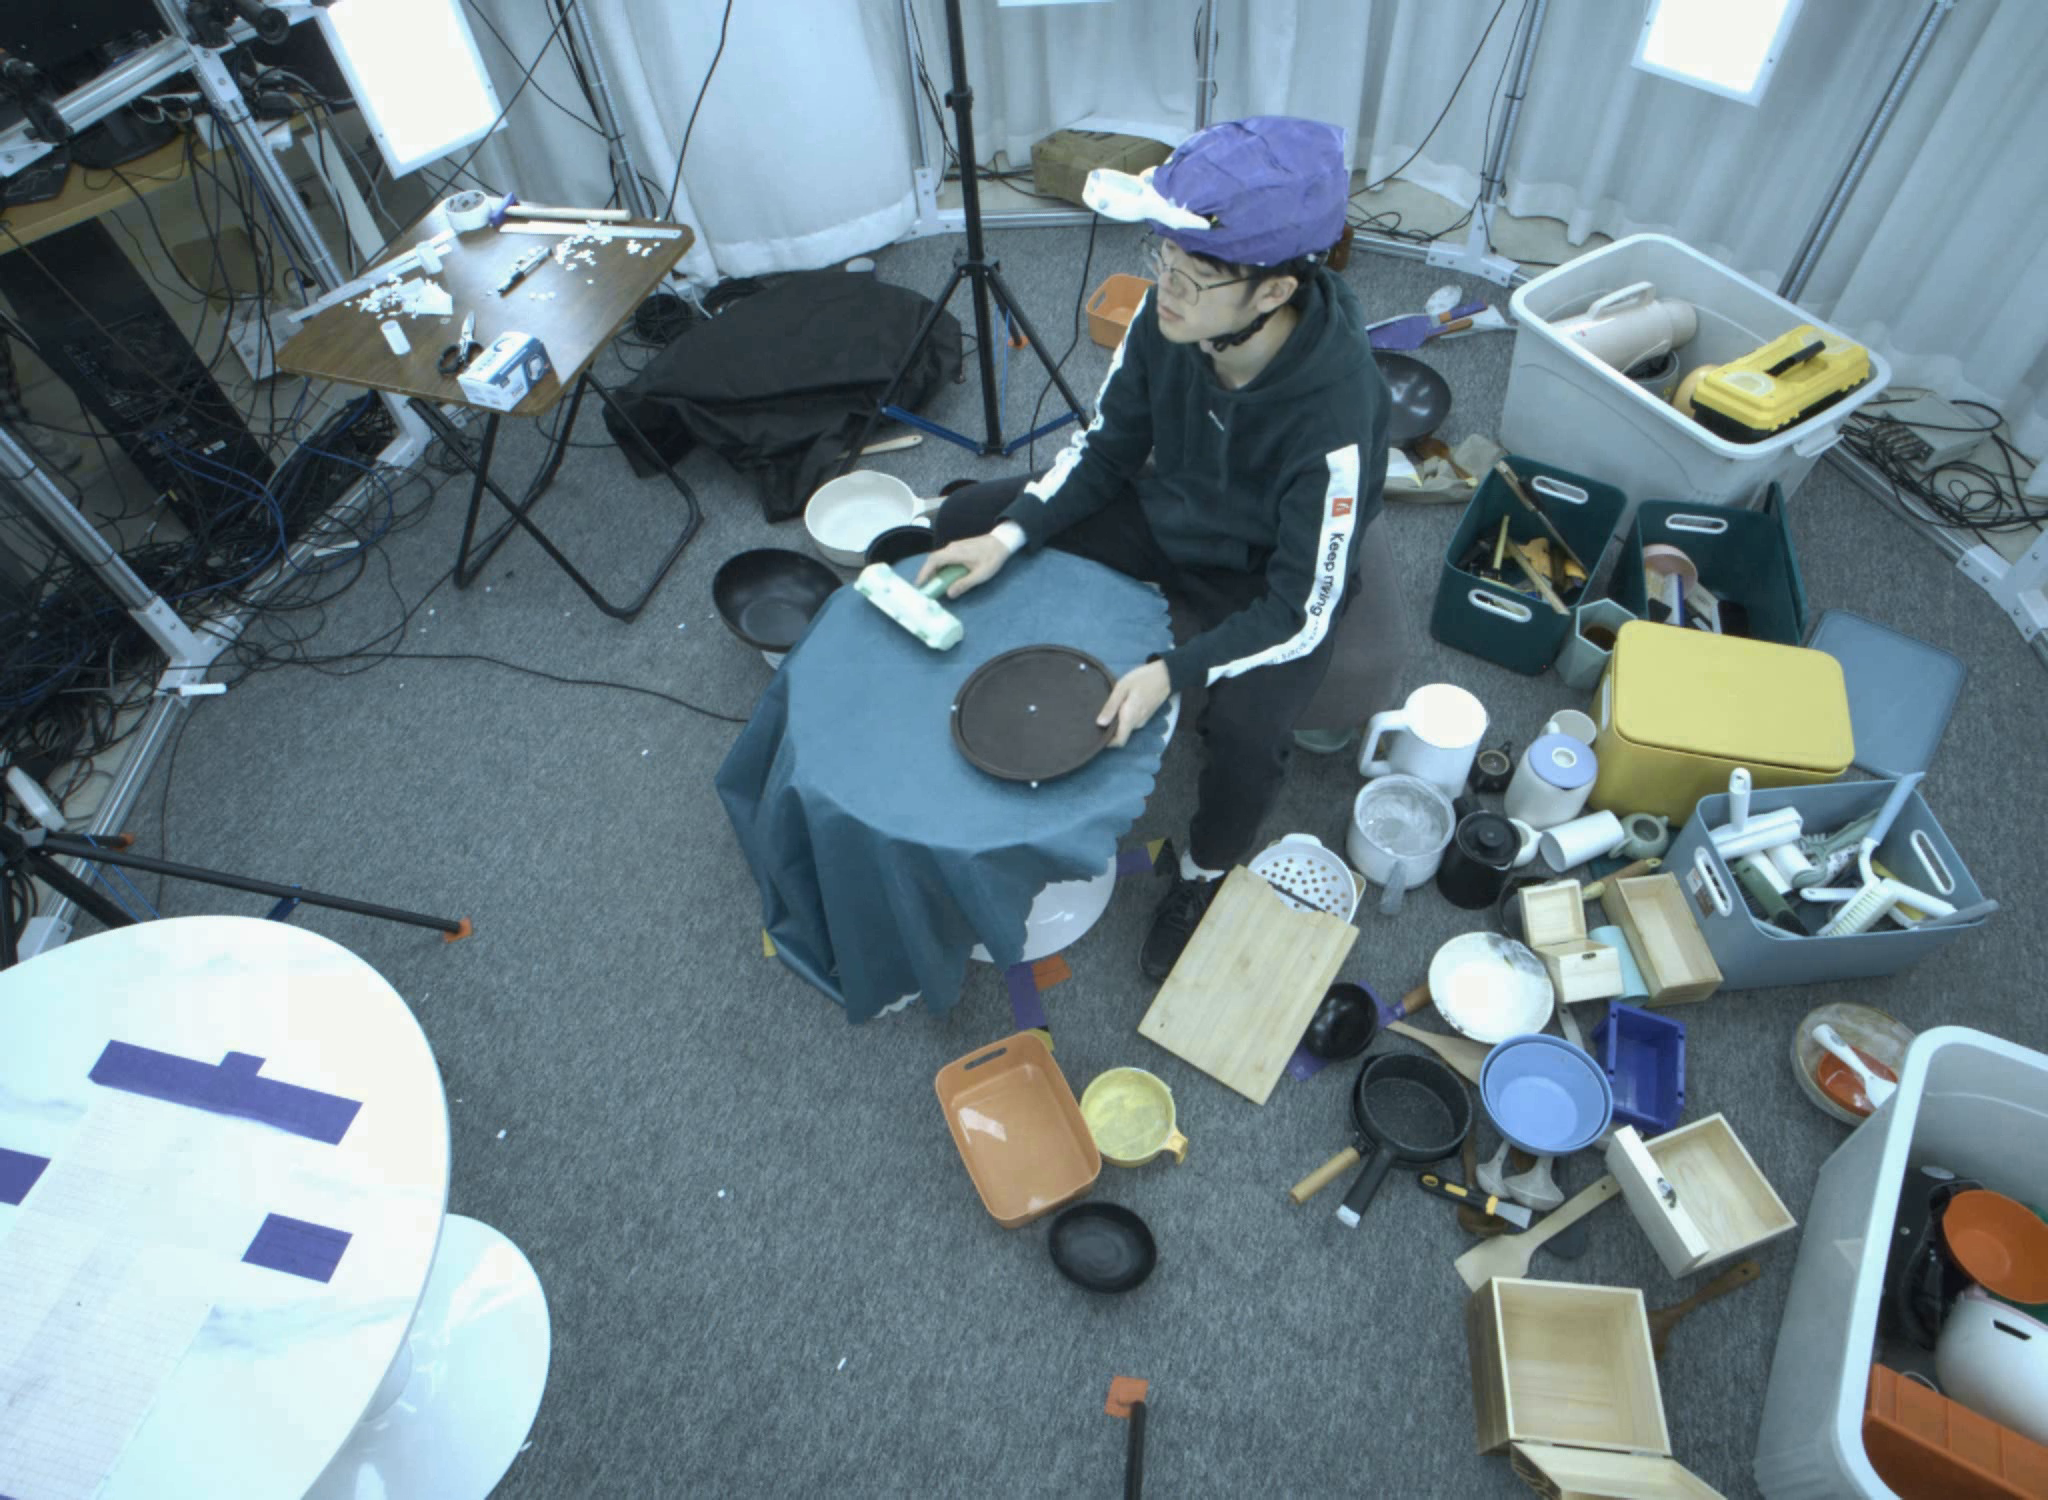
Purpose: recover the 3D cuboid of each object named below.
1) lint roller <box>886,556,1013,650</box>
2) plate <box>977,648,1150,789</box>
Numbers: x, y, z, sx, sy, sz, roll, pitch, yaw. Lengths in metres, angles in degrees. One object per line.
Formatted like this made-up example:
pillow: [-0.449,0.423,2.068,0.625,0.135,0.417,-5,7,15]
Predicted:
lint roller: [-0.092,-0.265,1.920,0.184,0.083,0.195,-42,63,-16]
plate: [0.058,-0.047,1.786,0.253,0.029,0.252,-5,53,8]
